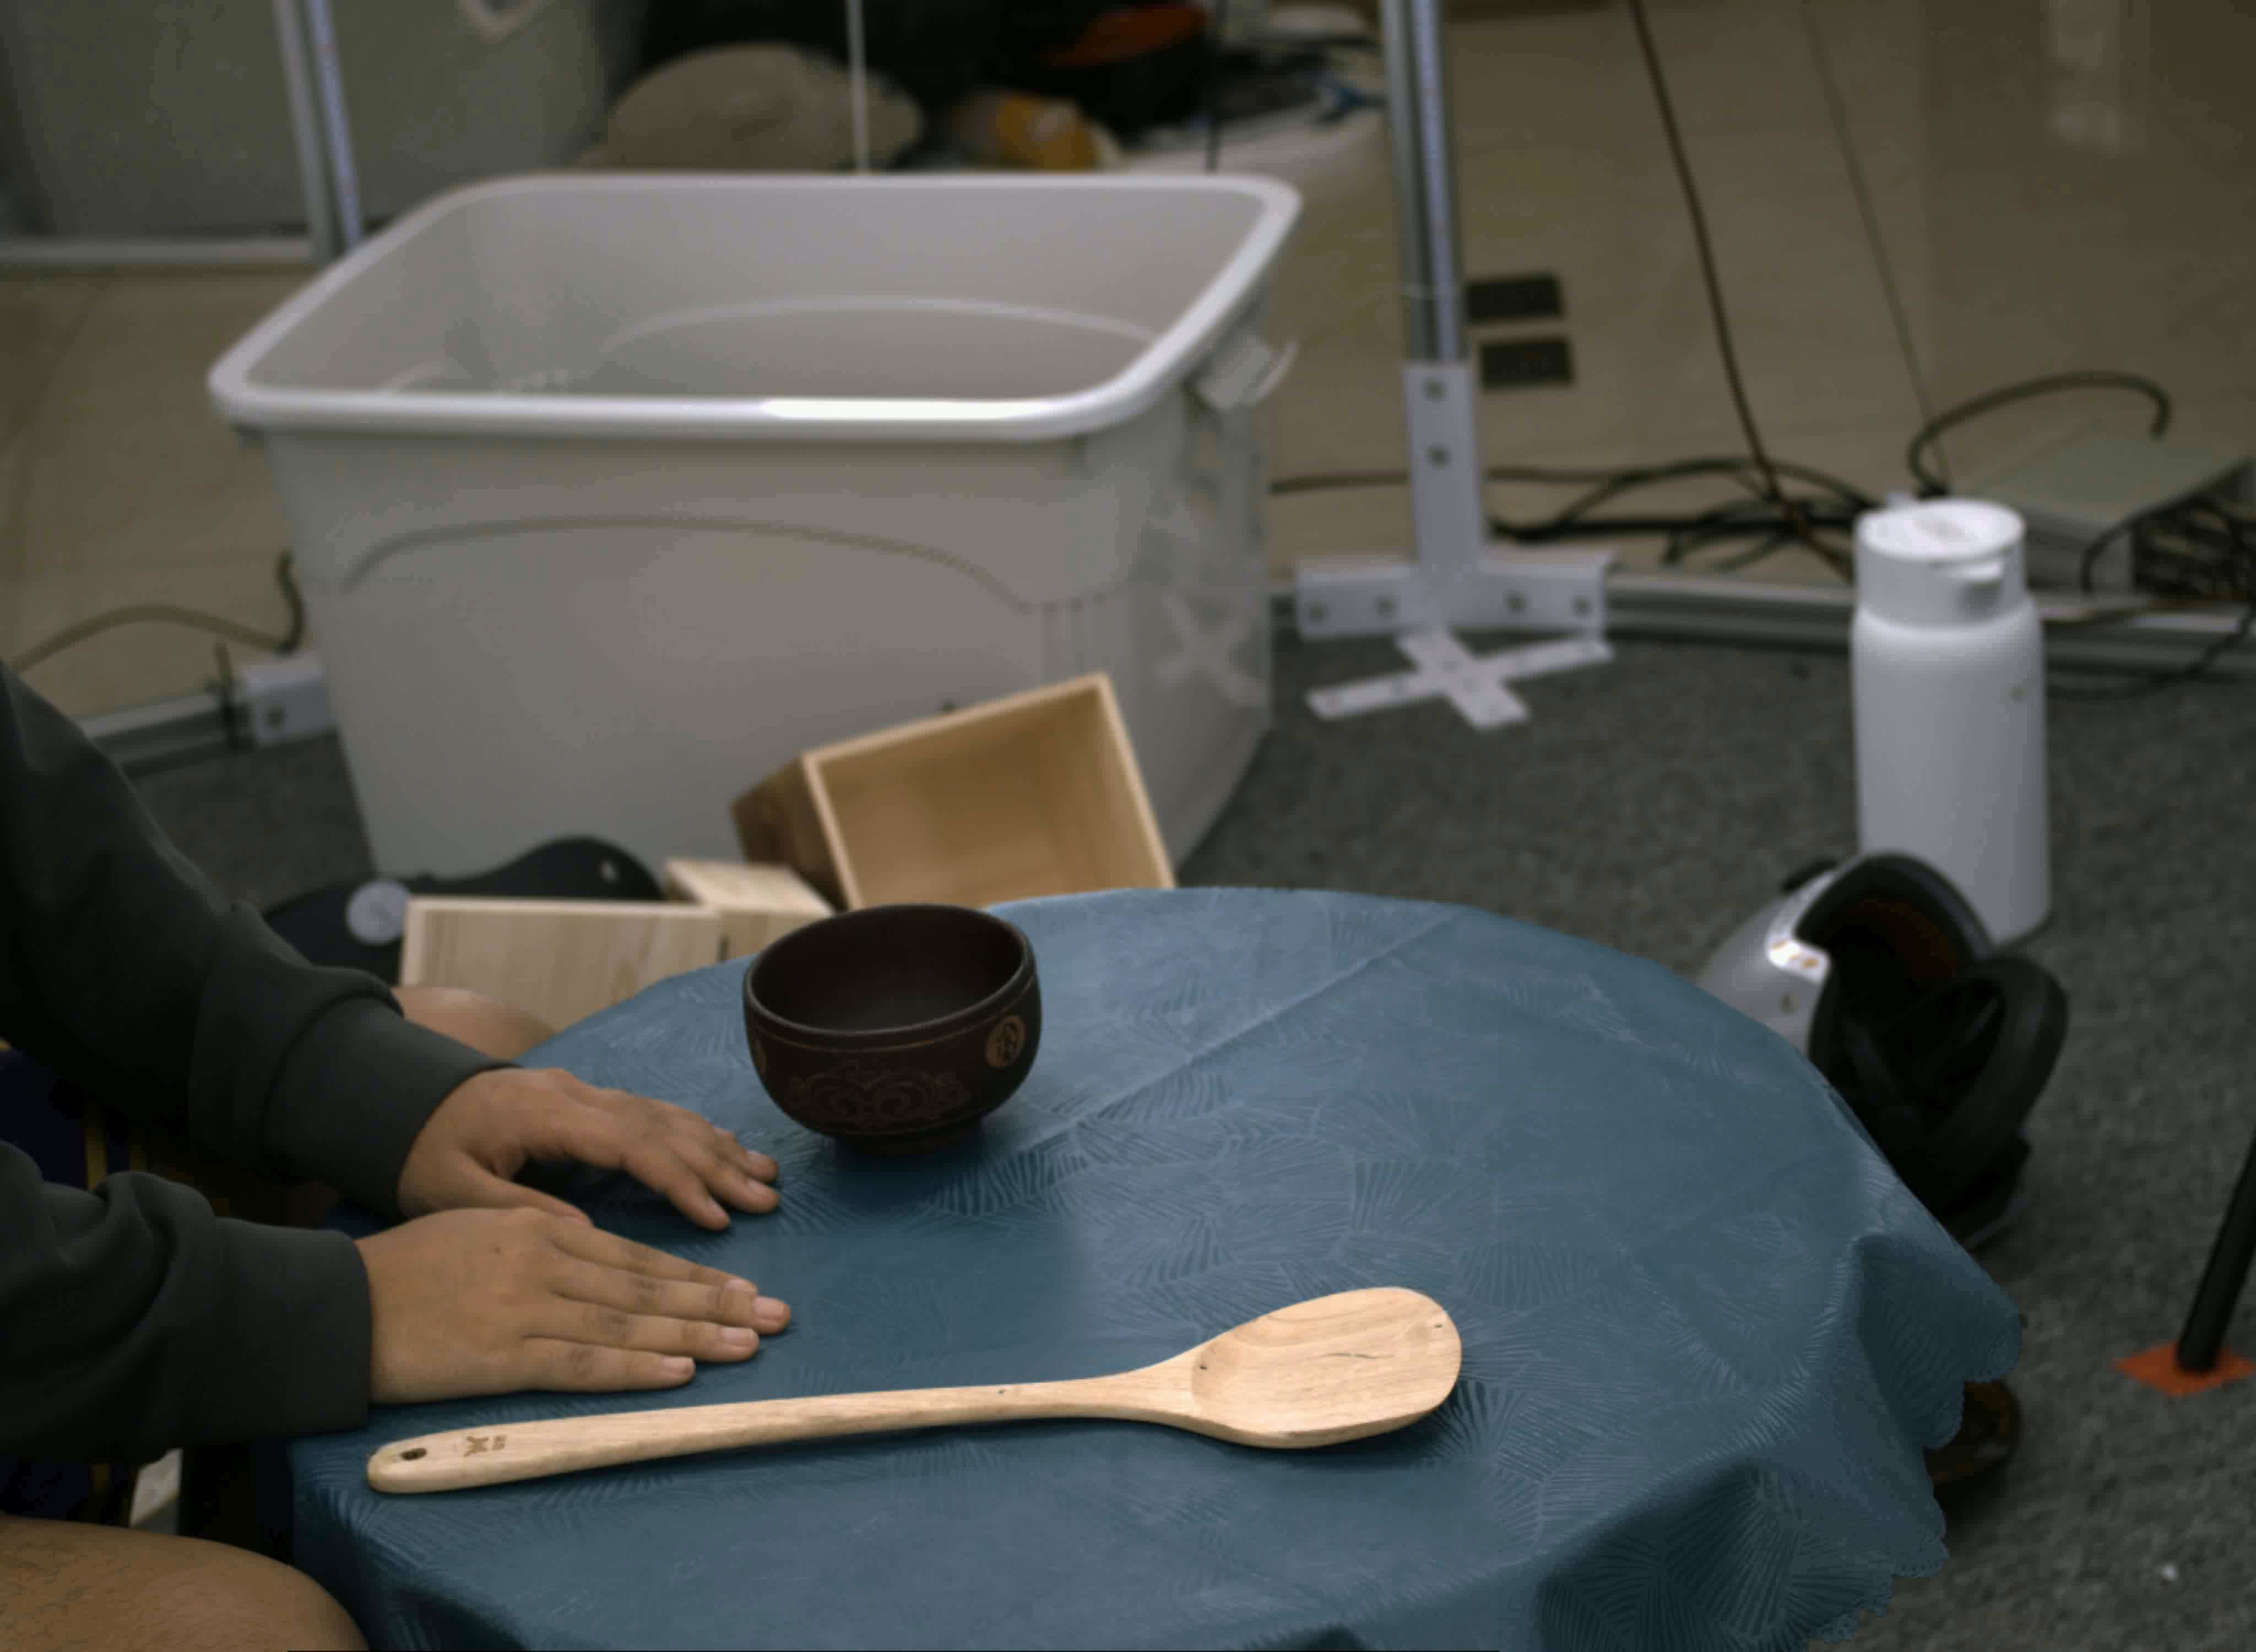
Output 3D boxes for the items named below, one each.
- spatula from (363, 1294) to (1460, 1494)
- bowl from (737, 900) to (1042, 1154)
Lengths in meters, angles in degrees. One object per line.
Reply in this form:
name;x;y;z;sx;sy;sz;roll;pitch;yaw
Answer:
spatula;-0.077;0.208;1.996;0.390;0.019;0.094;-5;23;2
bowl;-0.090;0.084;2.202;0.118;0.071;0.116;-7;25;3
